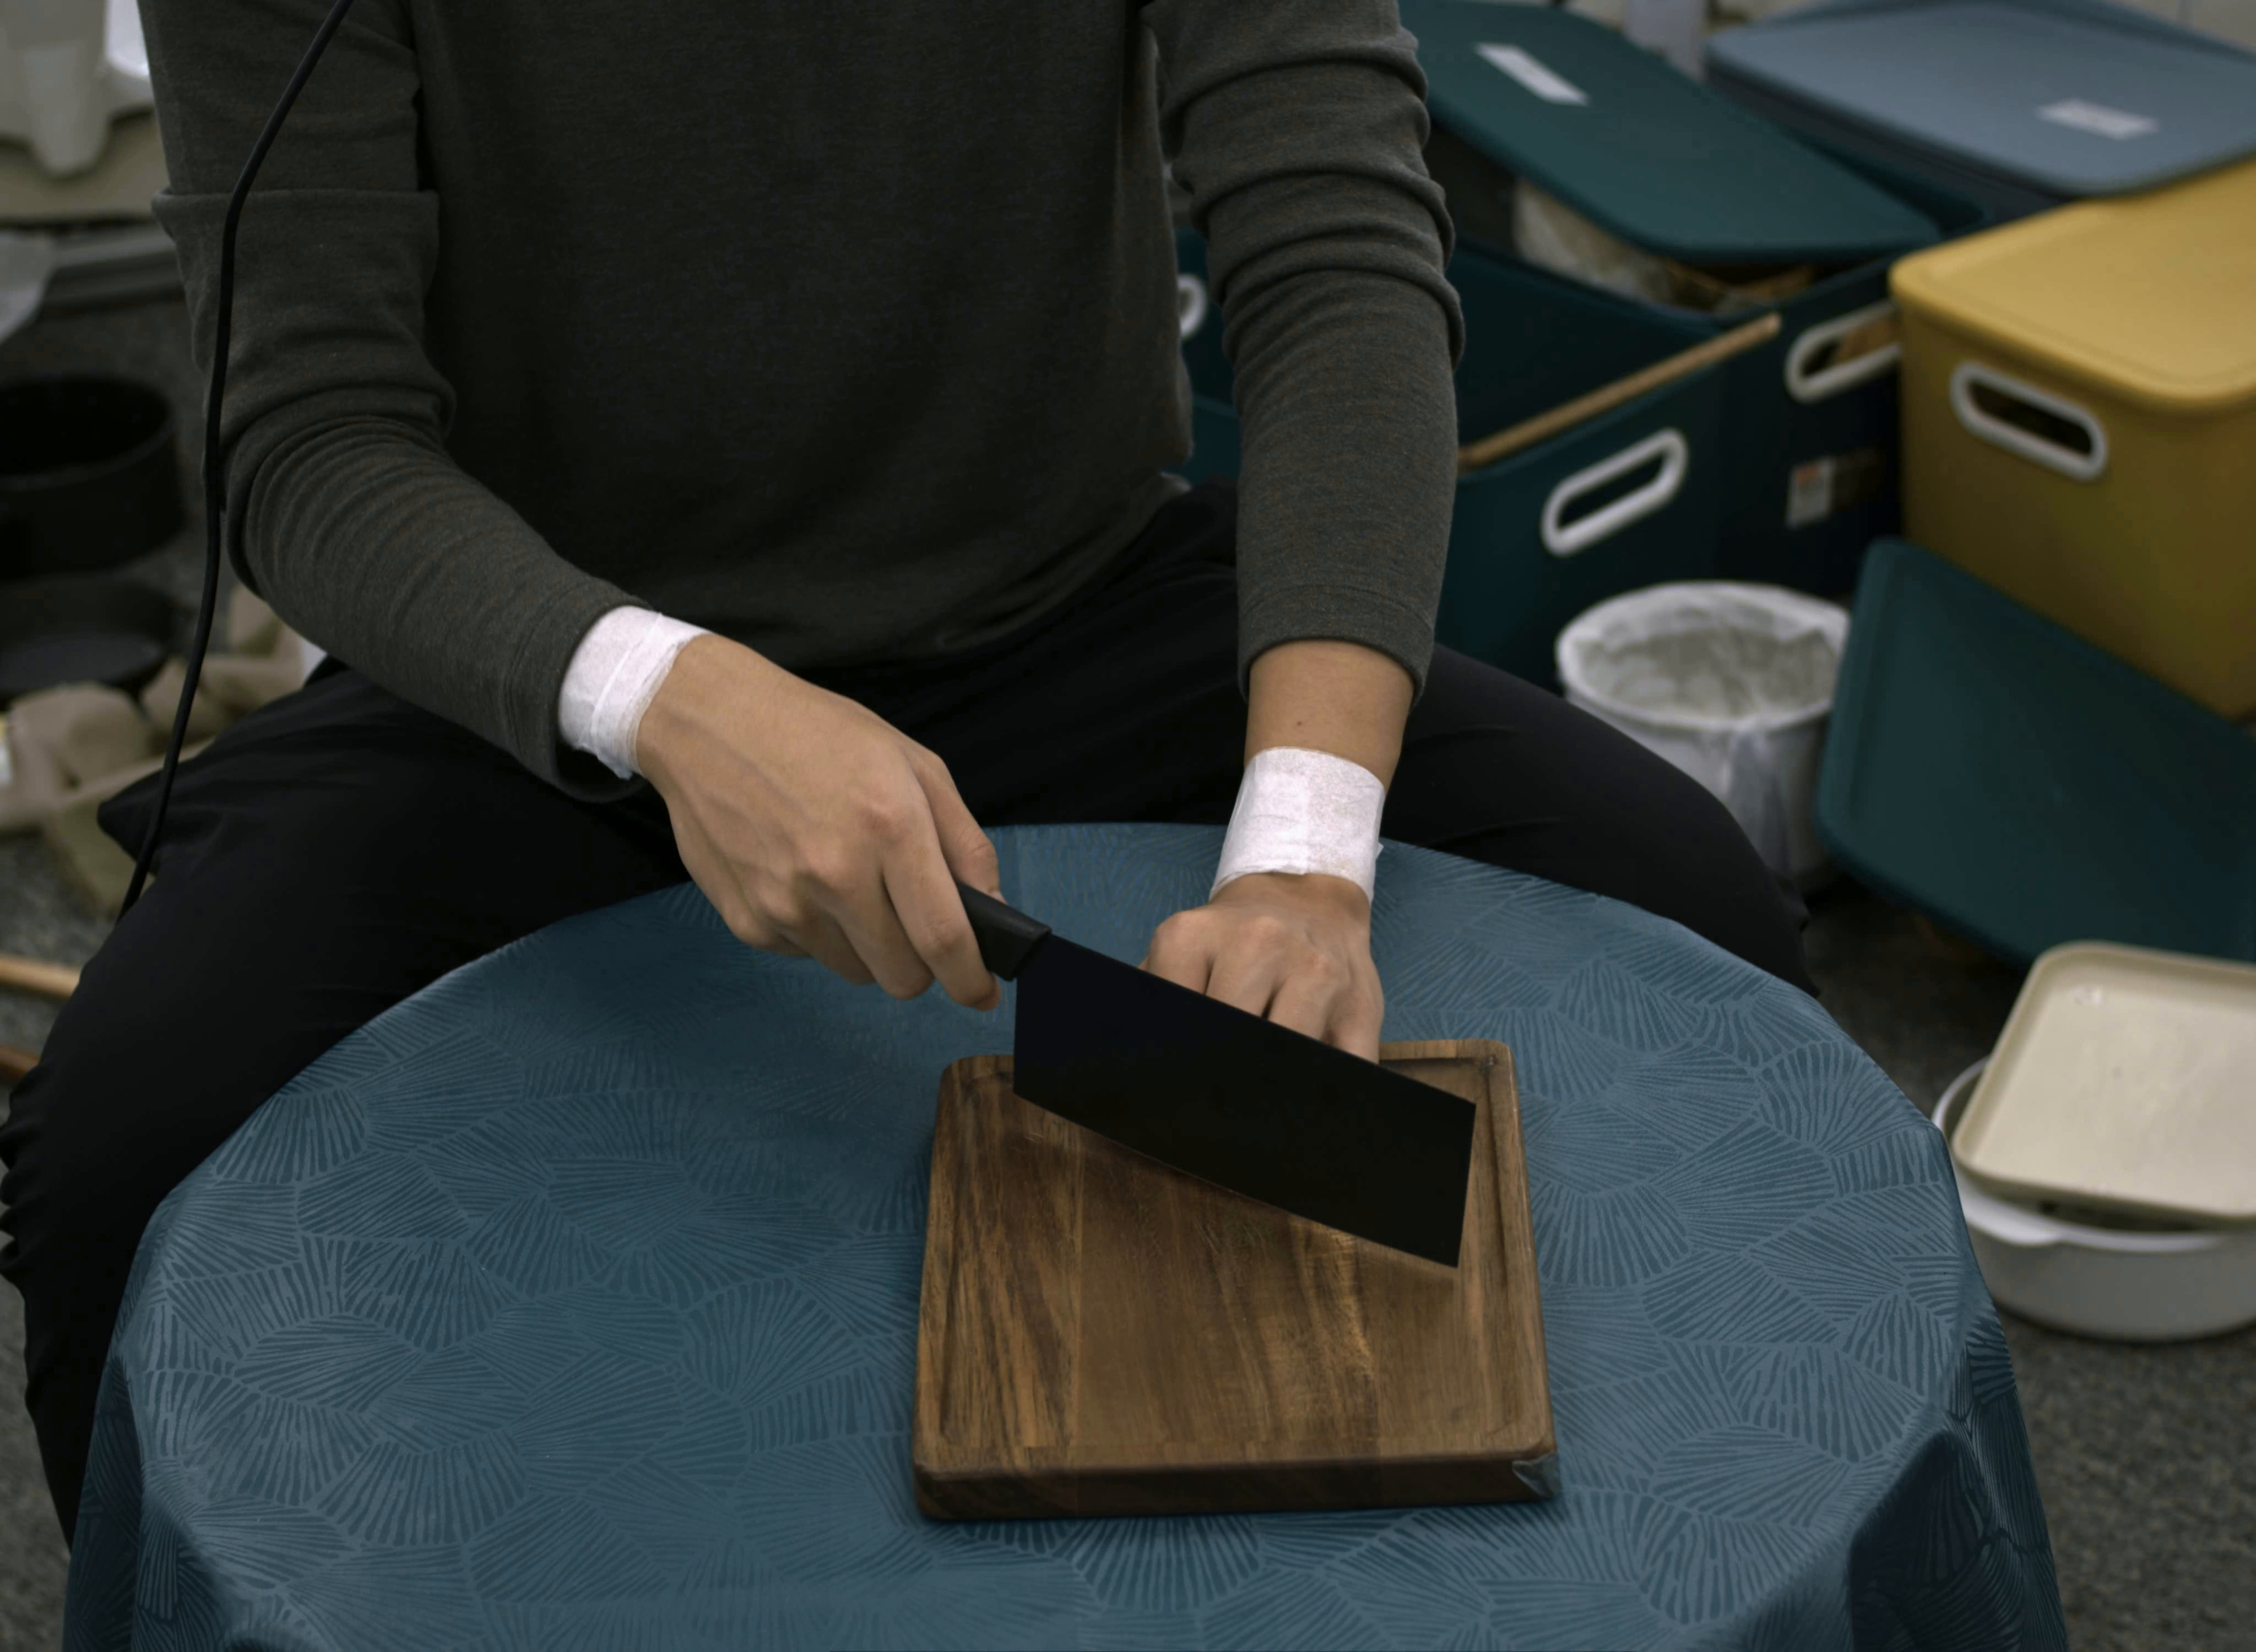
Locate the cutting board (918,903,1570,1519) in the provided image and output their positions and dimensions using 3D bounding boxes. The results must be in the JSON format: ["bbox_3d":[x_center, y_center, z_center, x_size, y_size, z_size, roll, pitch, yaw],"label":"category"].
[{"bbox_3d":[0.033,0.117,1.843,0.200,0.023,0.357,-2,27,1],"label":"cutting board"}]

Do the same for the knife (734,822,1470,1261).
[{"bbox_3d":[-0.012,0.065,1.841,0.302,0.080,0.021,25,30,30],"label":"knife"}]
